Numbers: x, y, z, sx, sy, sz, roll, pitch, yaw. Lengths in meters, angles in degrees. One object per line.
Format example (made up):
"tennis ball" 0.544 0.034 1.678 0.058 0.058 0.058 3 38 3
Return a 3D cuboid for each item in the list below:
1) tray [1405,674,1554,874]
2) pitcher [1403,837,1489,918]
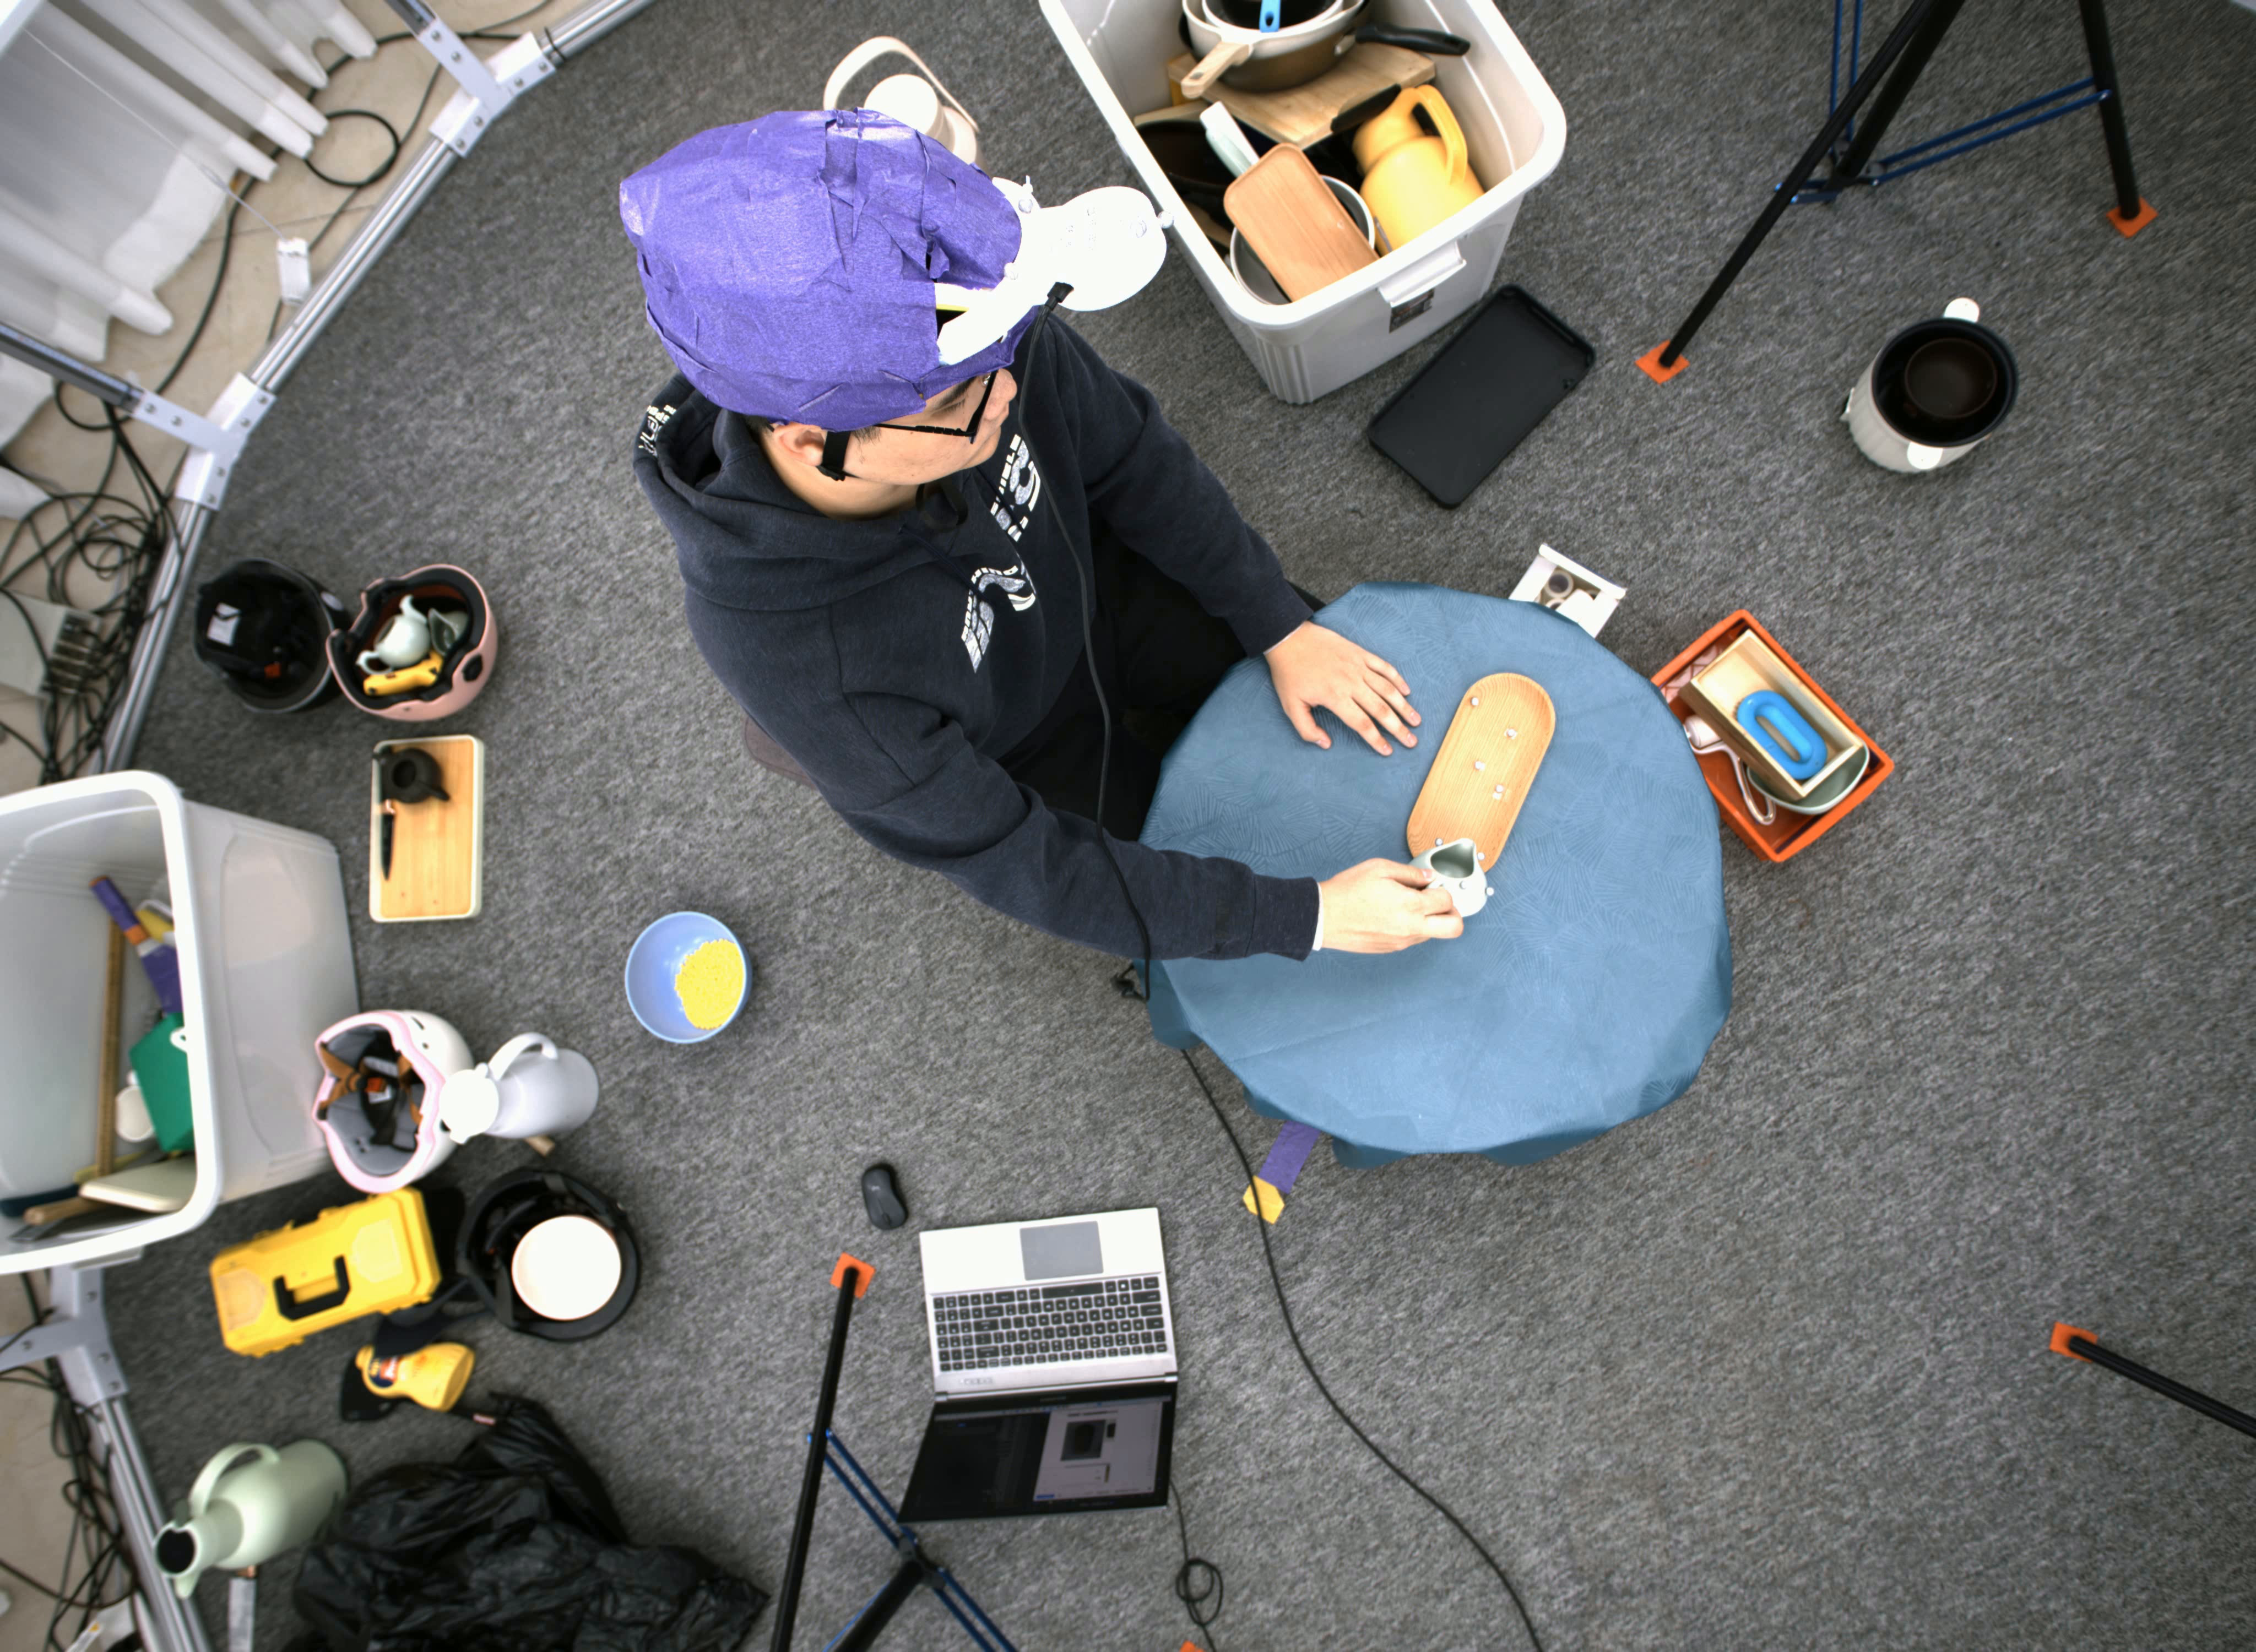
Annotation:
"tray" 0.369 -0.051 1.441 0.101 0.020 0.231 24 93 13
"pitcher" 0.312 0.057 1.362 0.086 0.105 0.062 26 135 21
